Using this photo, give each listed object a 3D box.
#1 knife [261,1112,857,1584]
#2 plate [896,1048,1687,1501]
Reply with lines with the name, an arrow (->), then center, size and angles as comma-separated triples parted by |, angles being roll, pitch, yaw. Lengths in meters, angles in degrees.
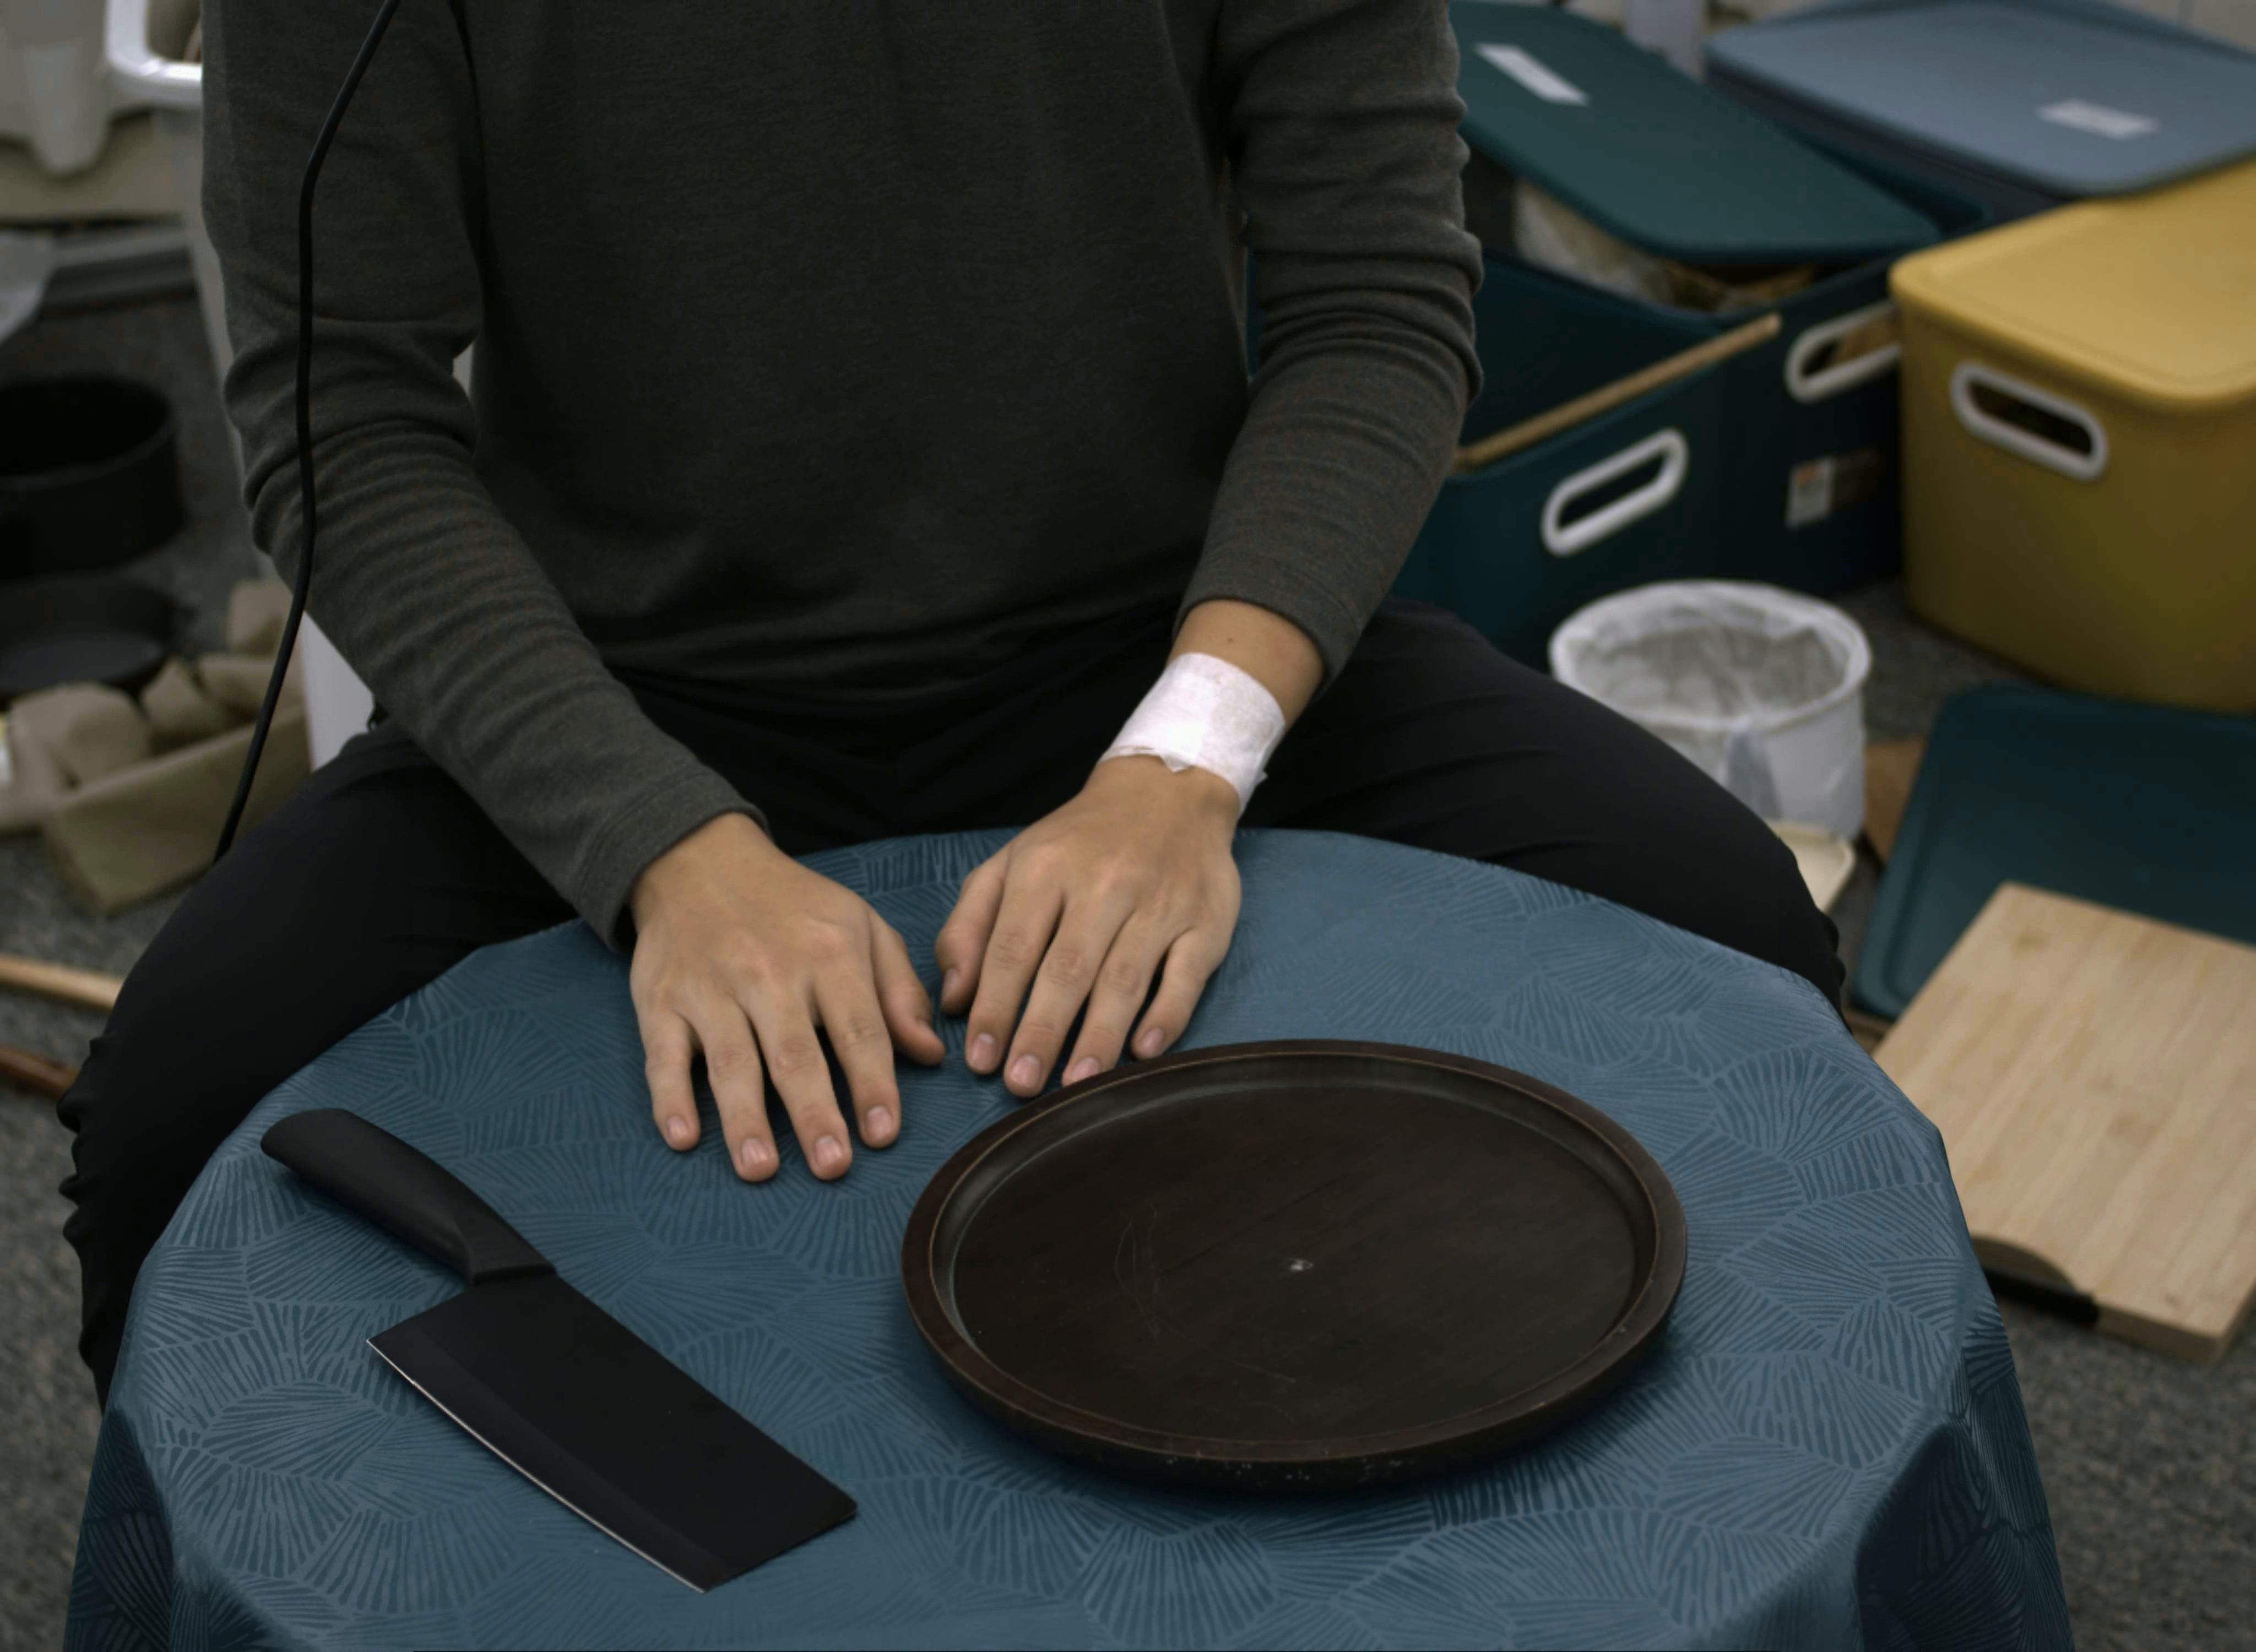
knife -> -0.195, 0.163, 1.786 | 0.081, 0.020, 0.303 | -20, 34, -29
plate -> 0.052, 0.141, 1.795 | 0.253, 0.029, 0.259 | -2, 28, 1
